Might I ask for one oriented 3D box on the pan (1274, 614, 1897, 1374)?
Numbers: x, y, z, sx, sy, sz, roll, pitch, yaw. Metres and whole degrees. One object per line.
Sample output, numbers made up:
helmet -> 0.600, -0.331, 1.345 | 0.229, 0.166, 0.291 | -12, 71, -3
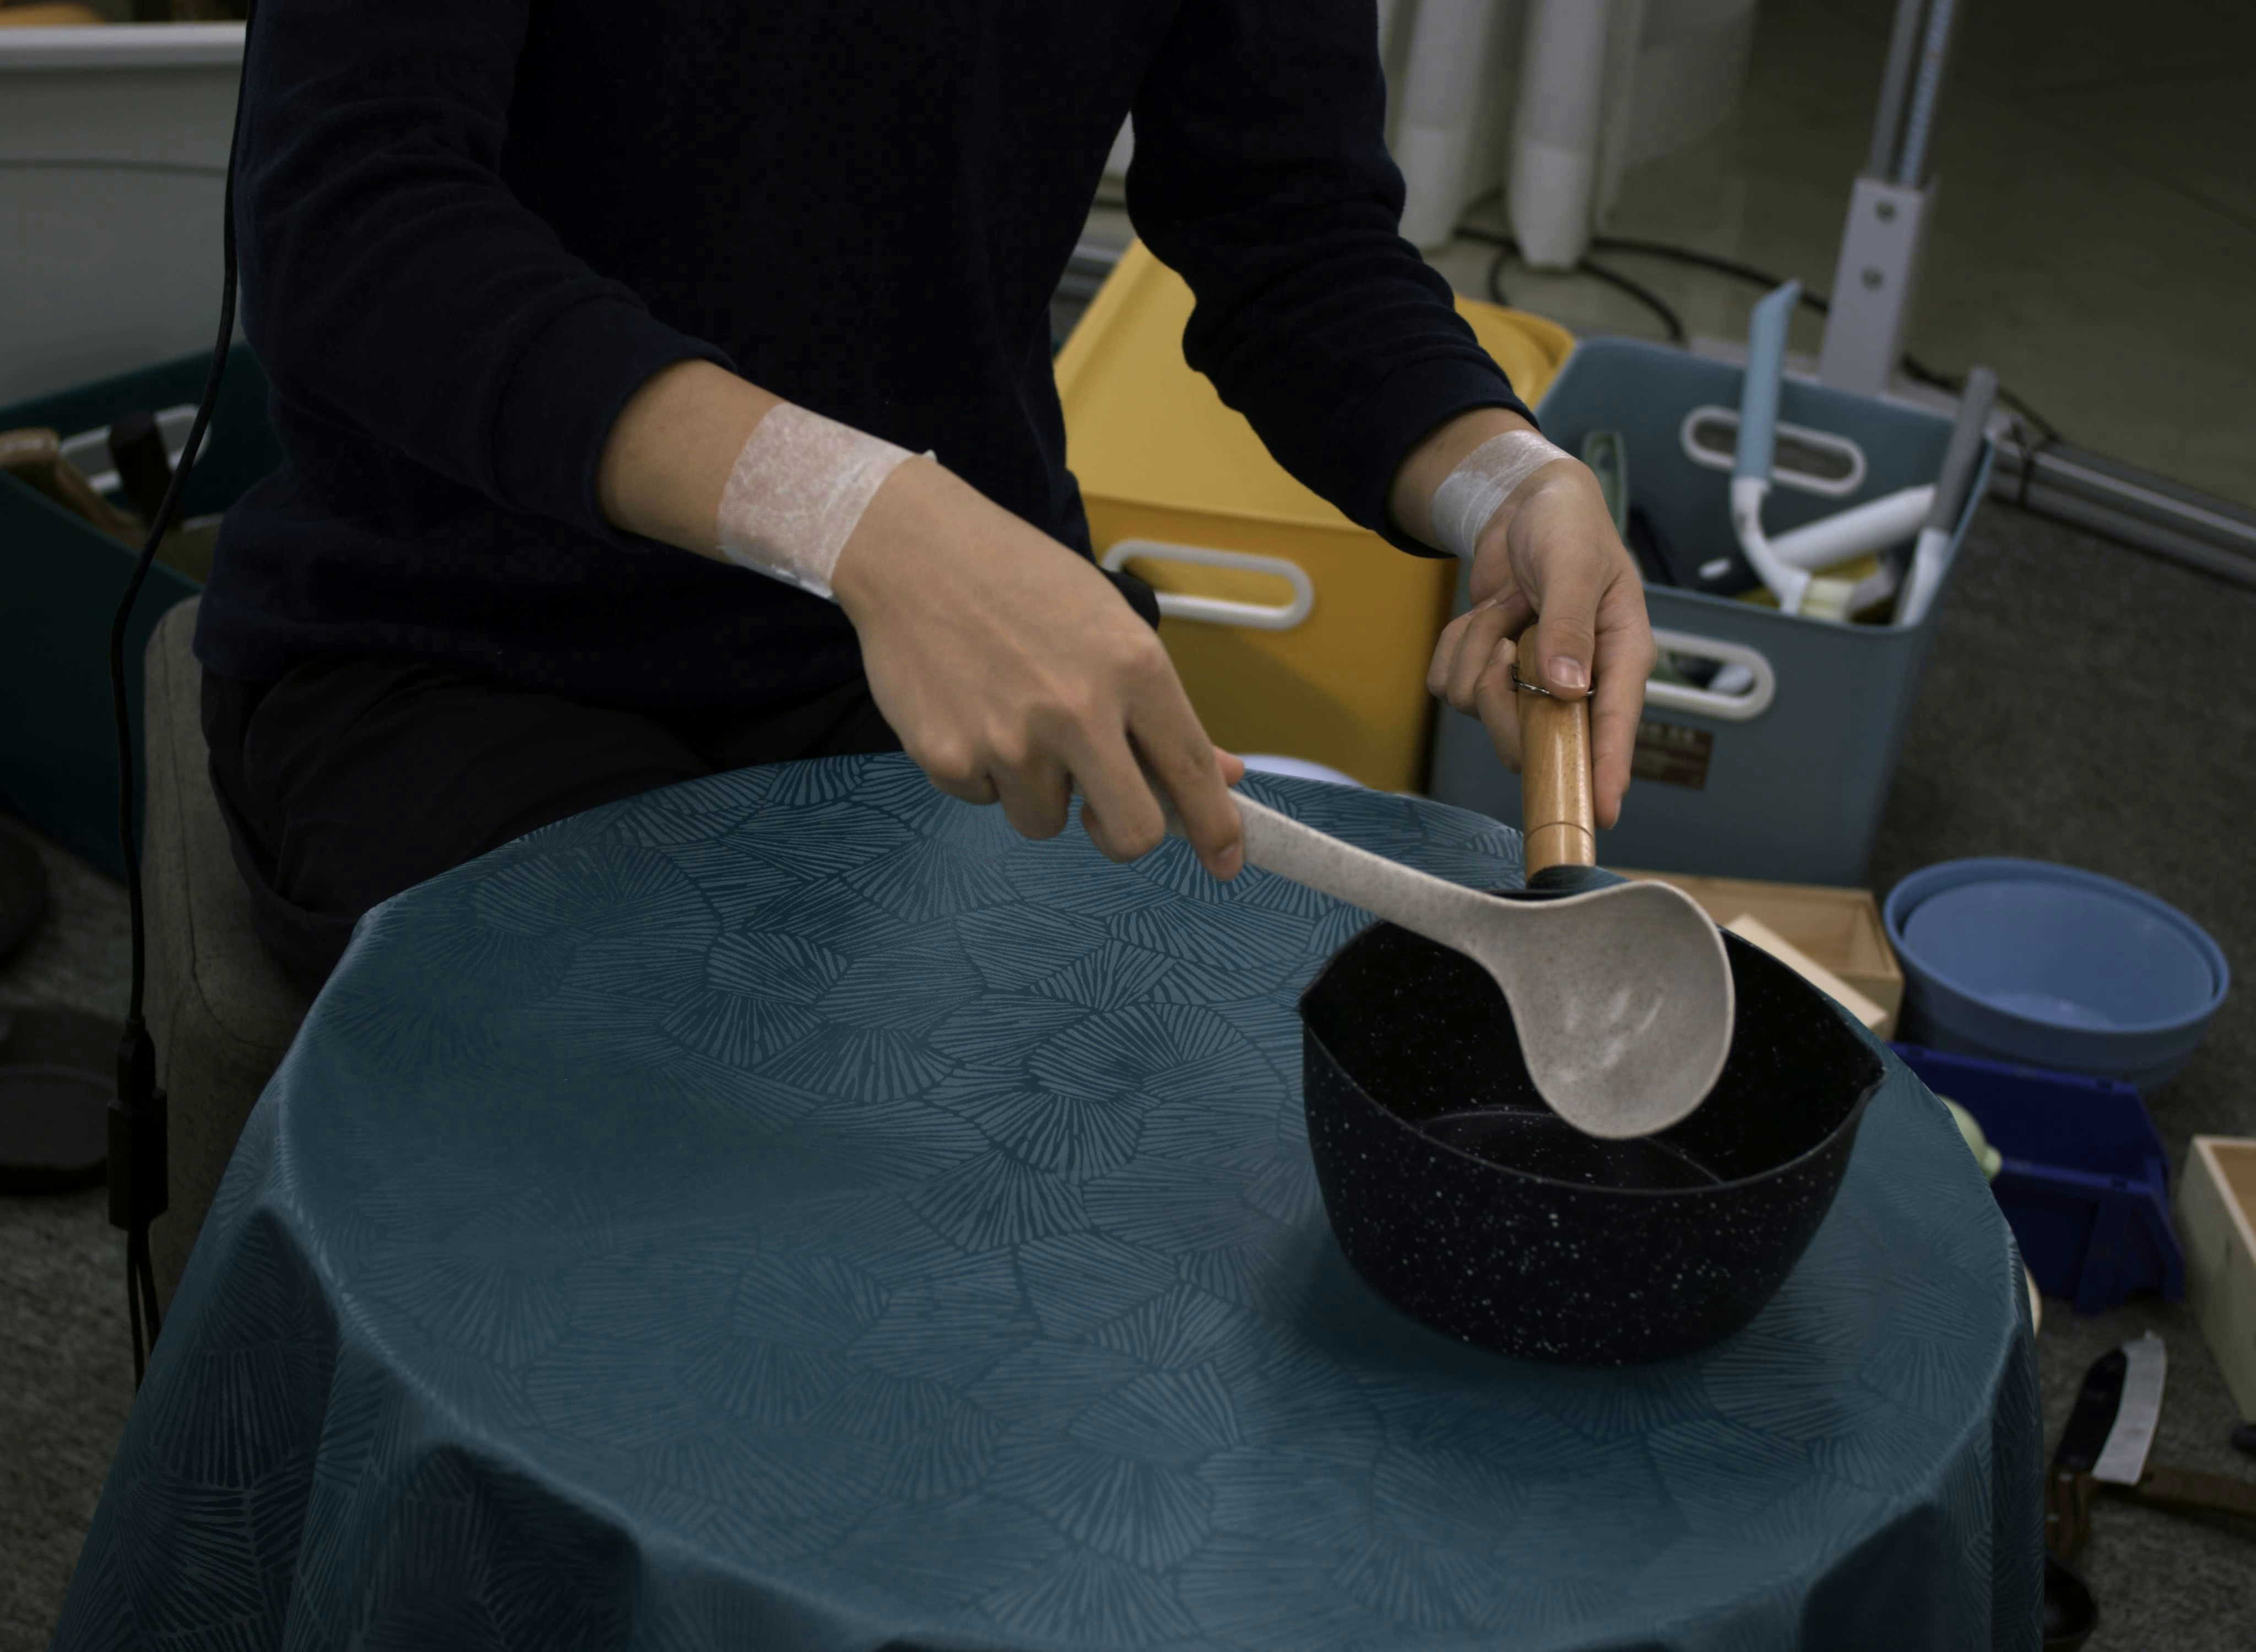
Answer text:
pan -> 0.148, 0.054, 1.837 | 0.207, 0.108, 0.345 | 4, 31, -3

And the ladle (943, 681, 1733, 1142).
ladle -> 0.066, 0.023, 1.710 | 0.273, 0.089, 0.070 | 21, 29, -15
